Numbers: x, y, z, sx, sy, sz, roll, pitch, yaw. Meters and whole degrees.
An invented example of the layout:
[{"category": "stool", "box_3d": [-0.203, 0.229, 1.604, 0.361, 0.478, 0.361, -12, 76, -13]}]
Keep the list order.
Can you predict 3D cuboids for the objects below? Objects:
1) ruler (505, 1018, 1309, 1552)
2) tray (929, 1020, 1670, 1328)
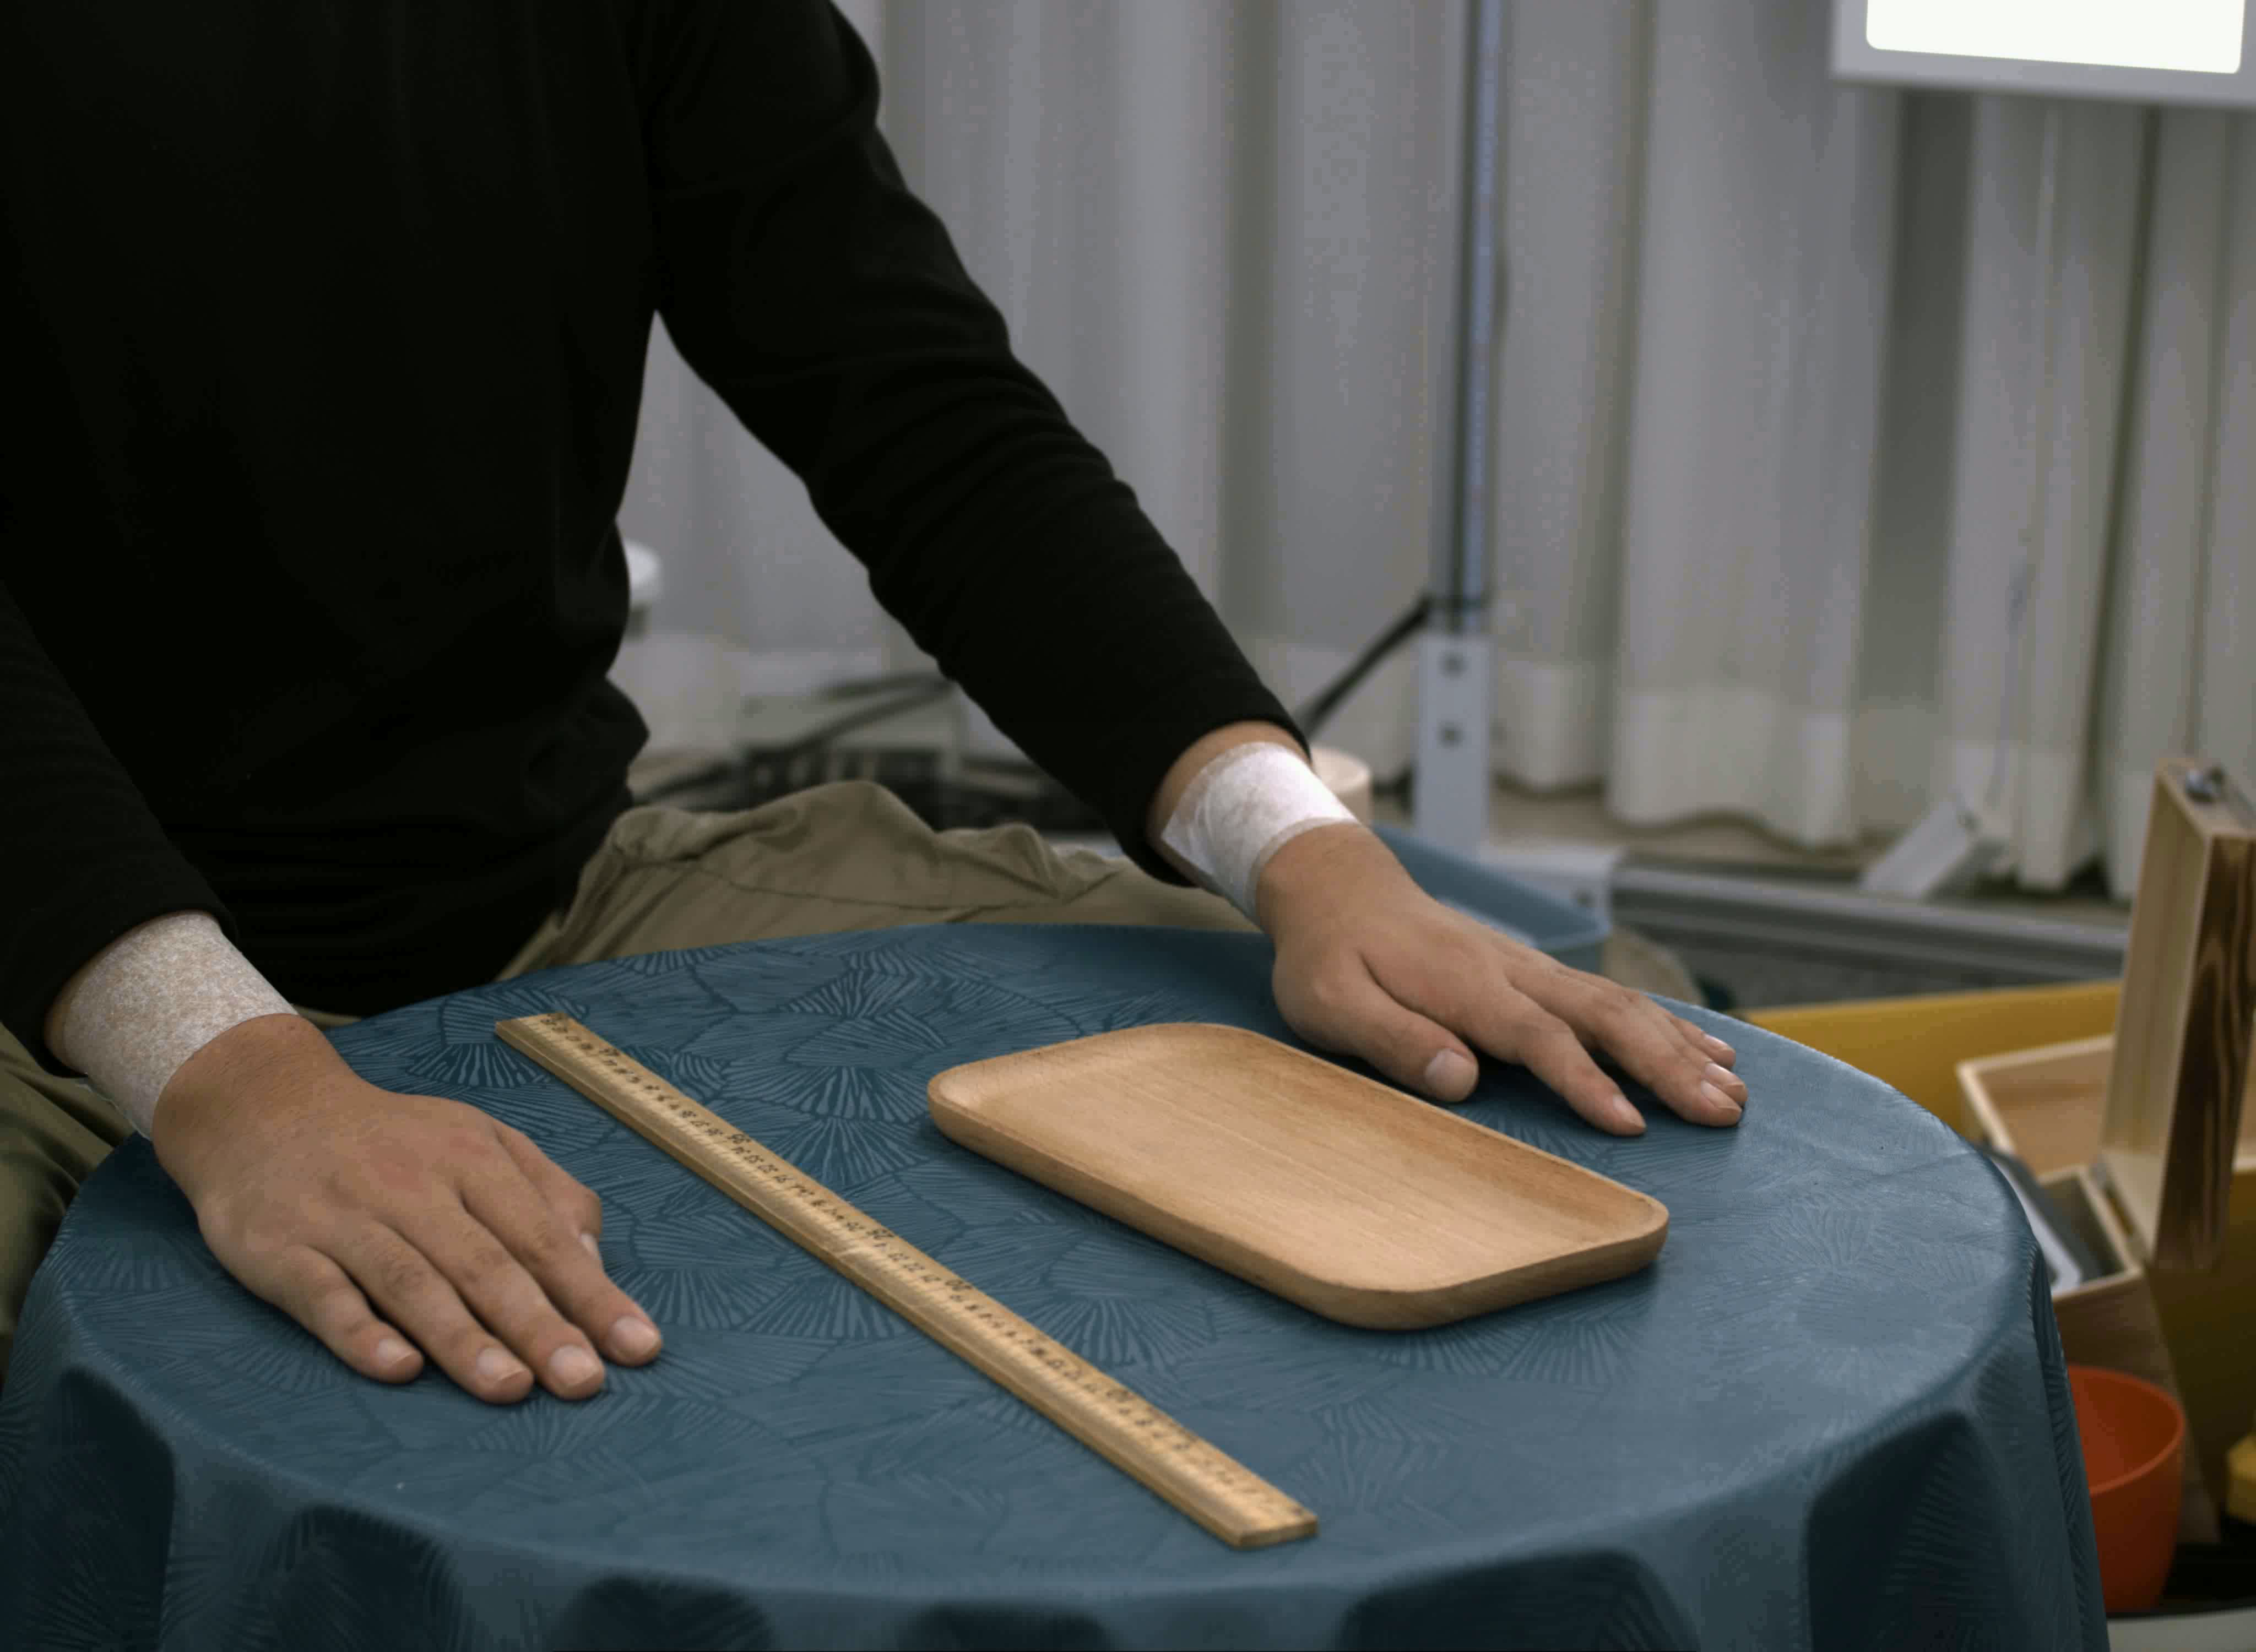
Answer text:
[{"category": "ruler", "box_3d": [-0.080, 0.125, 1.564, 0.027, 0.006, 0.494, -6, 16, -28]}, {"category": "tray", "box_3d": [0.049, 0.104, 1.621, 0.131, 0.023, 0.247, -8, 16, -34]}]
